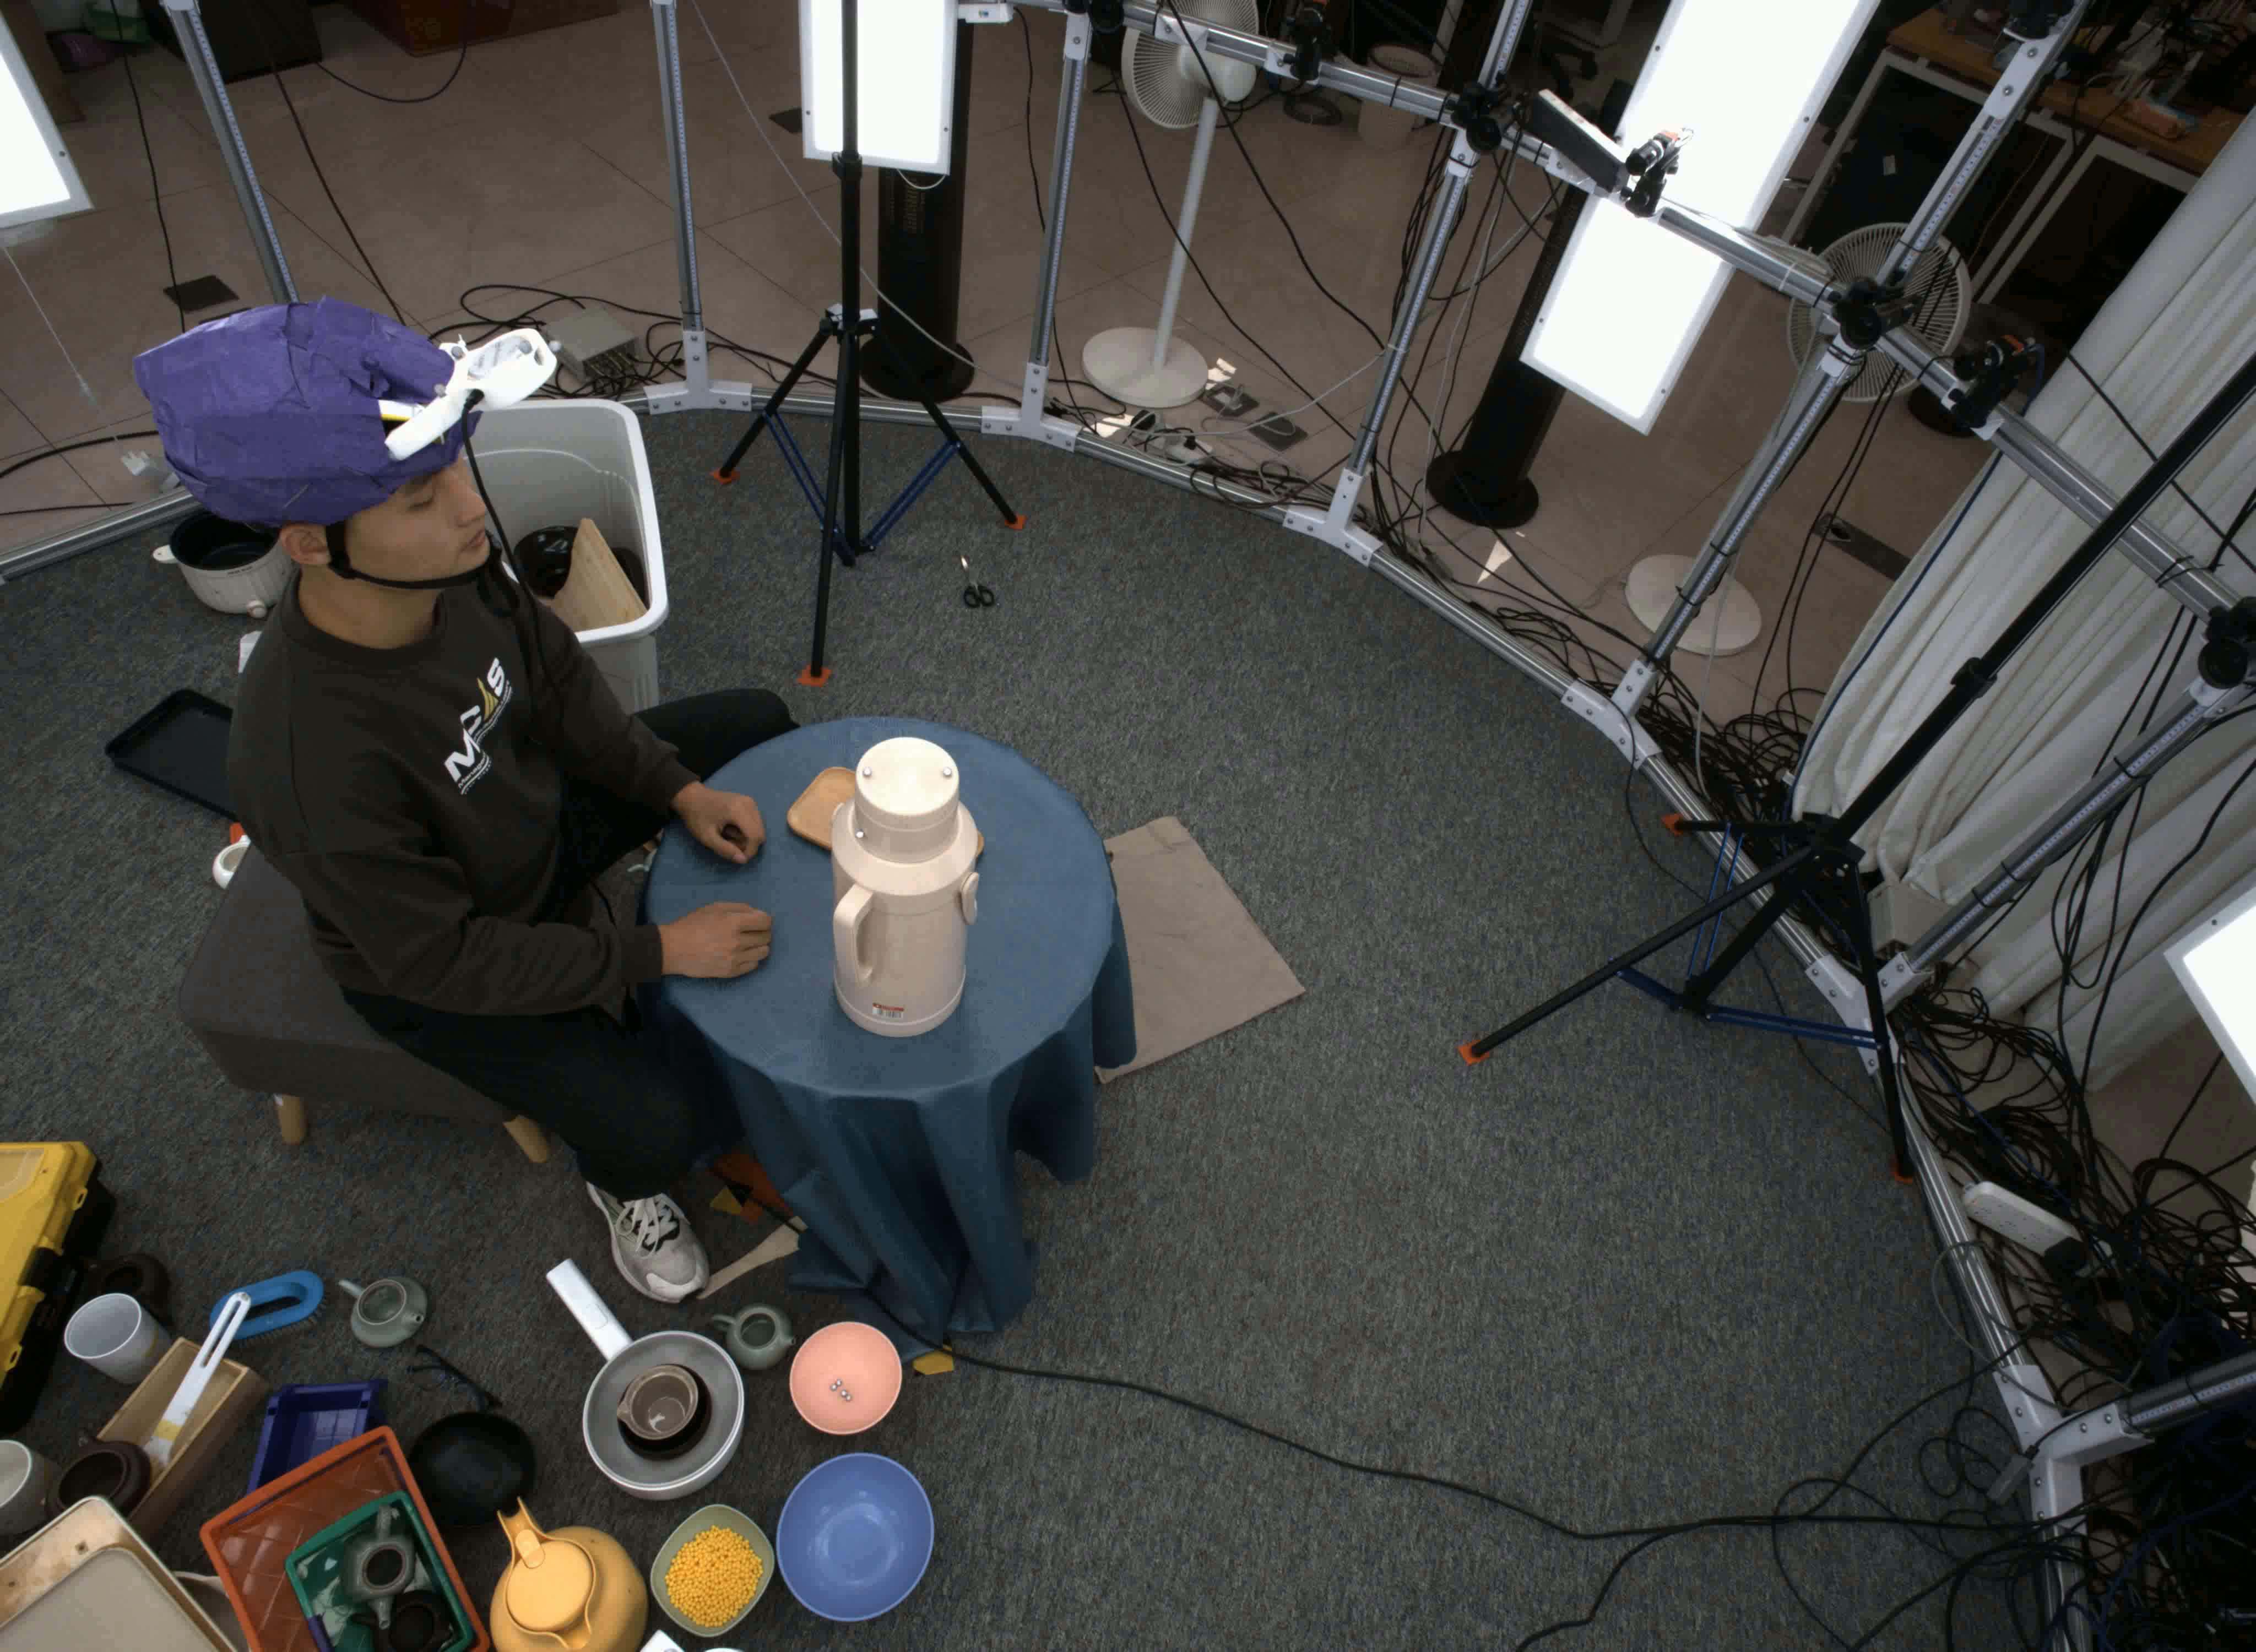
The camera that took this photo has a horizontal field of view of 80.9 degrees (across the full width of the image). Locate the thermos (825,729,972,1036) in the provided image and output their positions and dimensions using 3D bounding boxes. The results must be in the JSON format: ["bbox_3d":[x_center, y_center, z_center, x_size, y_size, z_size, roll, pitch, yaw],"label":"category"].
[{"bbox_3d":[-0.267,0.076,1.460,0.172,0.415,0.206,26,52,9],"label":"thermos"}]

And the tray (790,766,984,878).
[{"bbox_3d":[-0.323,0.007,1.744,0.247,0.023,0.130,25,50,7],"label":"tray"}]
